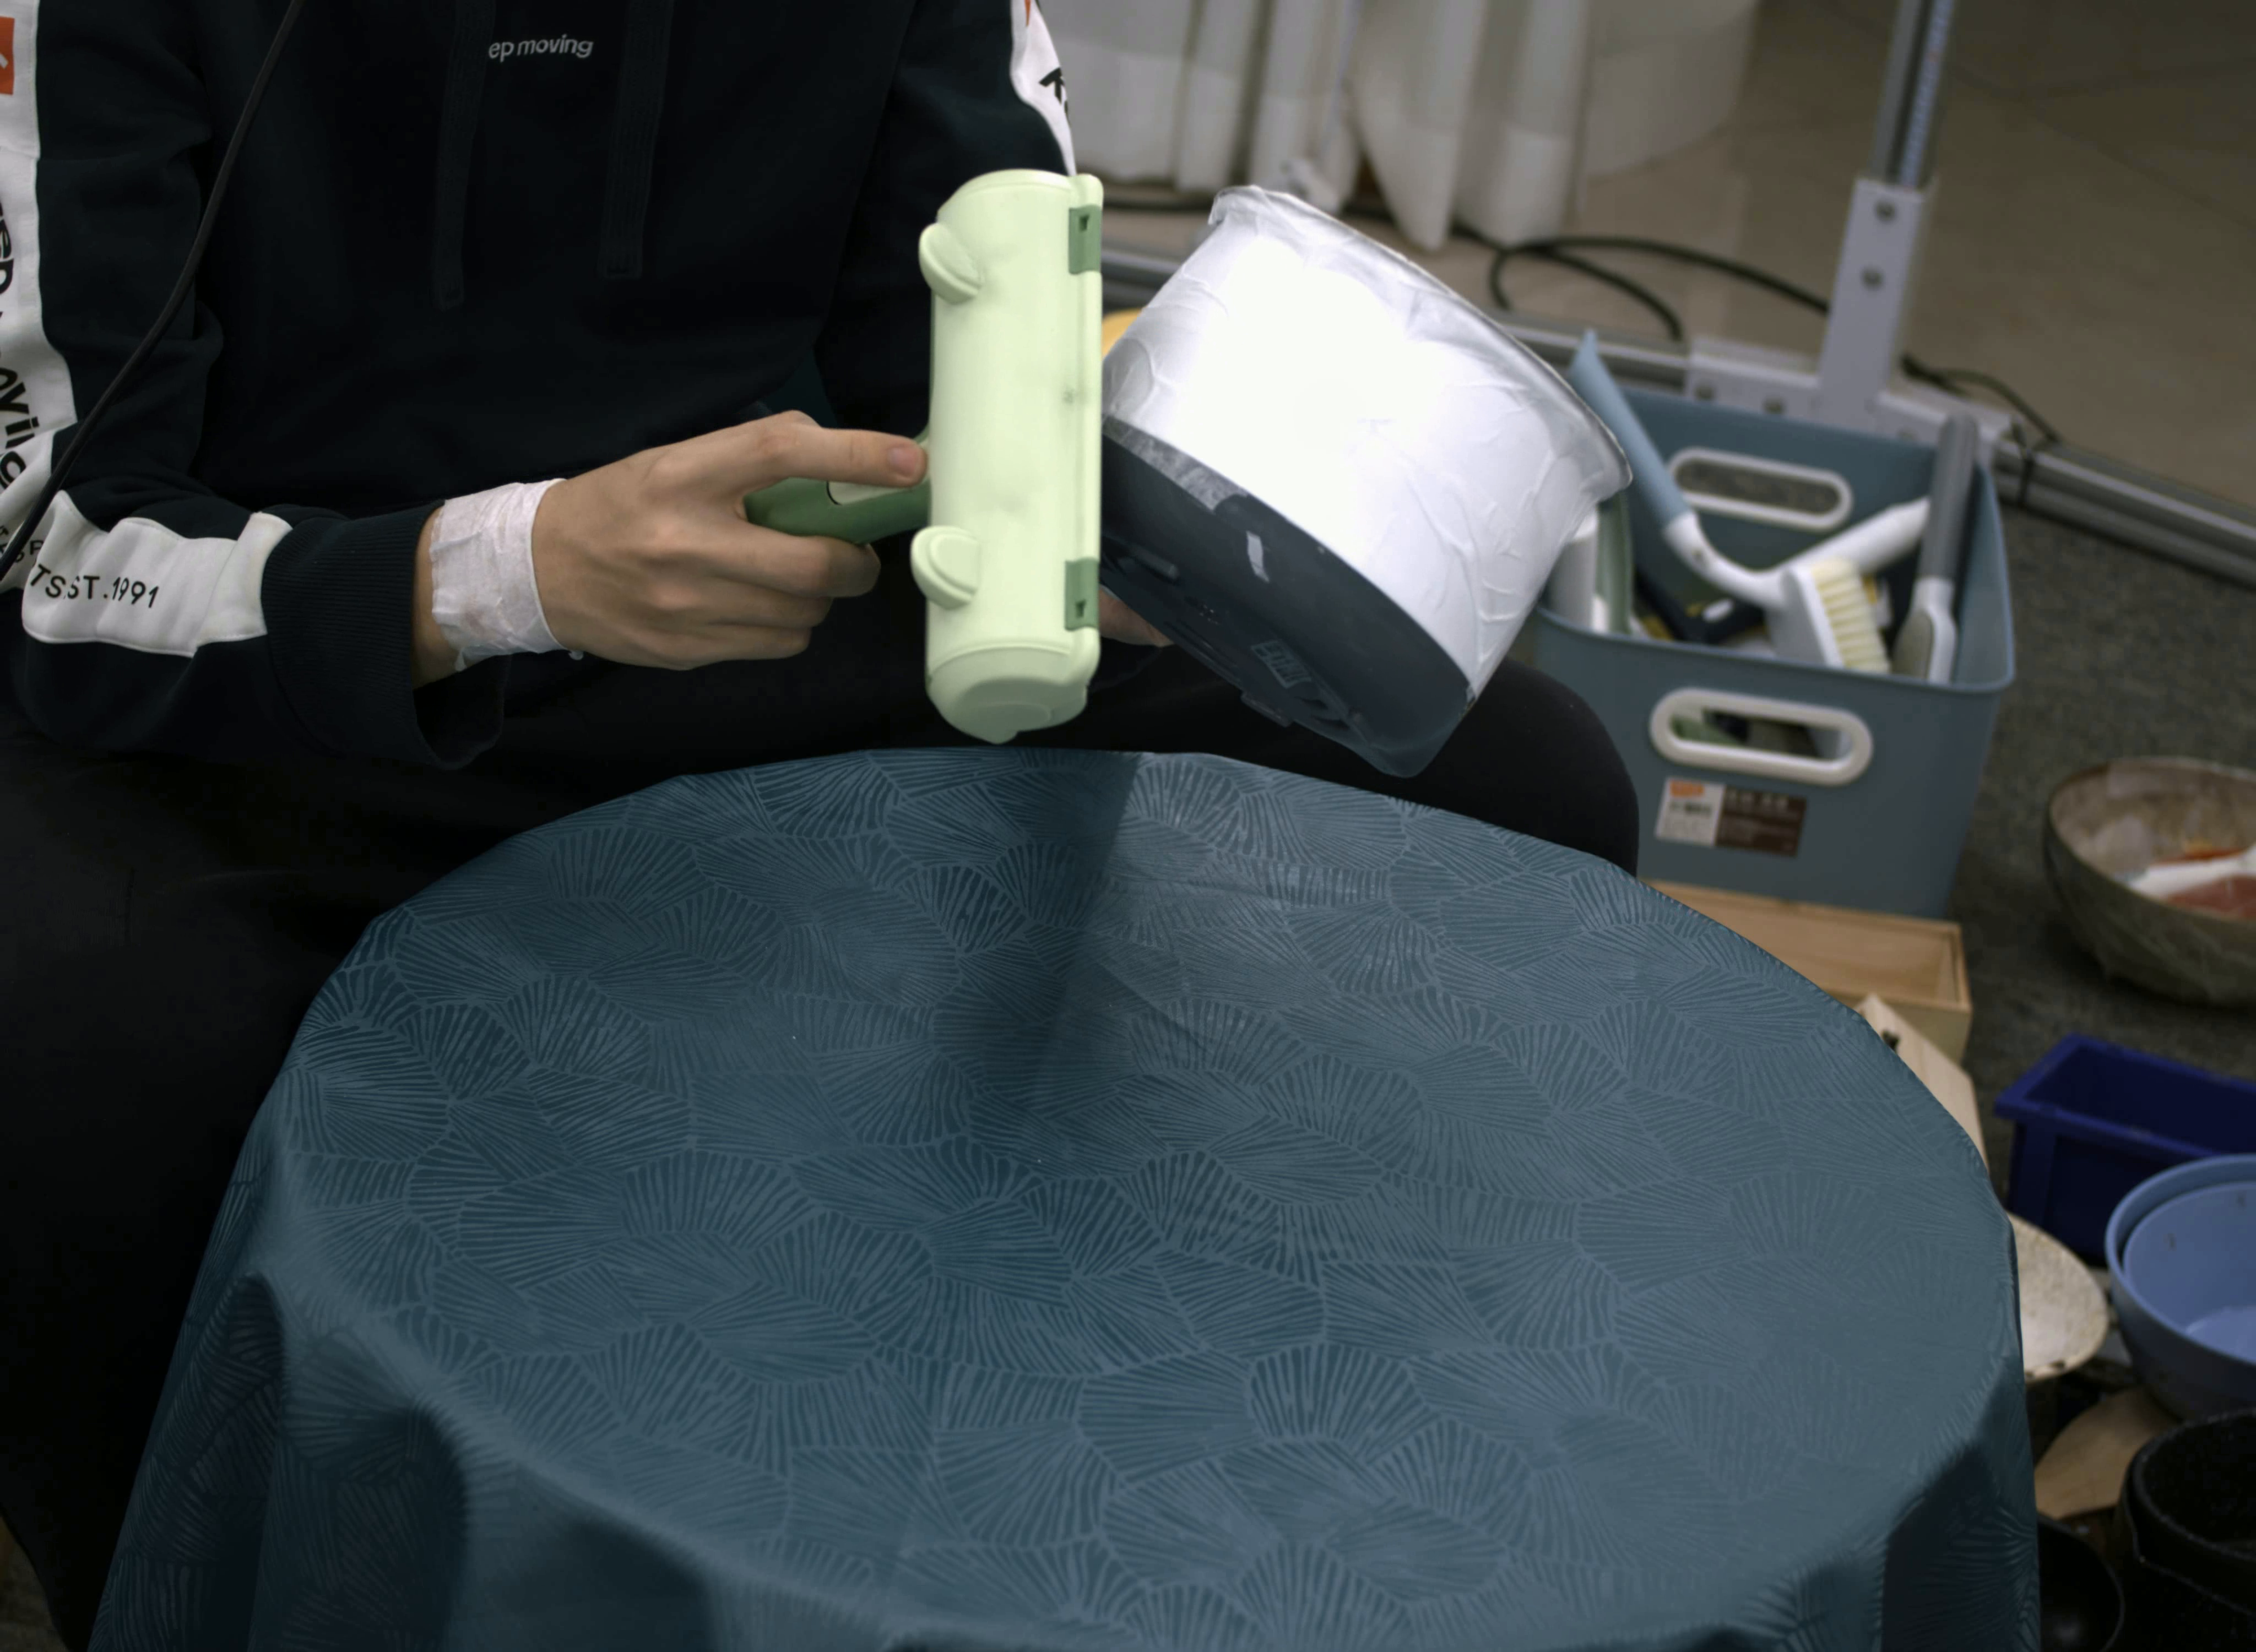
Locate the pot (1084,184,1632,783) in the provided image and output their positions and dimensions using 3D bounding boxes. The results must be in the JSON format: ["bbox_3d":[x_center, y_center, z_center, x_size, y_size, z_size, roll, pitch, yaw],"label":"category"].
[{"bbox_3d":[0.058,-0.121,1.883,0.177,0.137,0.235,38,-7,-18],"label":"pot"}]

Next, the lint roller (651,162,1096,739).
[{"bbox_3d":[-0.094,-0.120,1.789,0.183,0.081,0.200,-11,62,22],"label":"lint roller"}]
